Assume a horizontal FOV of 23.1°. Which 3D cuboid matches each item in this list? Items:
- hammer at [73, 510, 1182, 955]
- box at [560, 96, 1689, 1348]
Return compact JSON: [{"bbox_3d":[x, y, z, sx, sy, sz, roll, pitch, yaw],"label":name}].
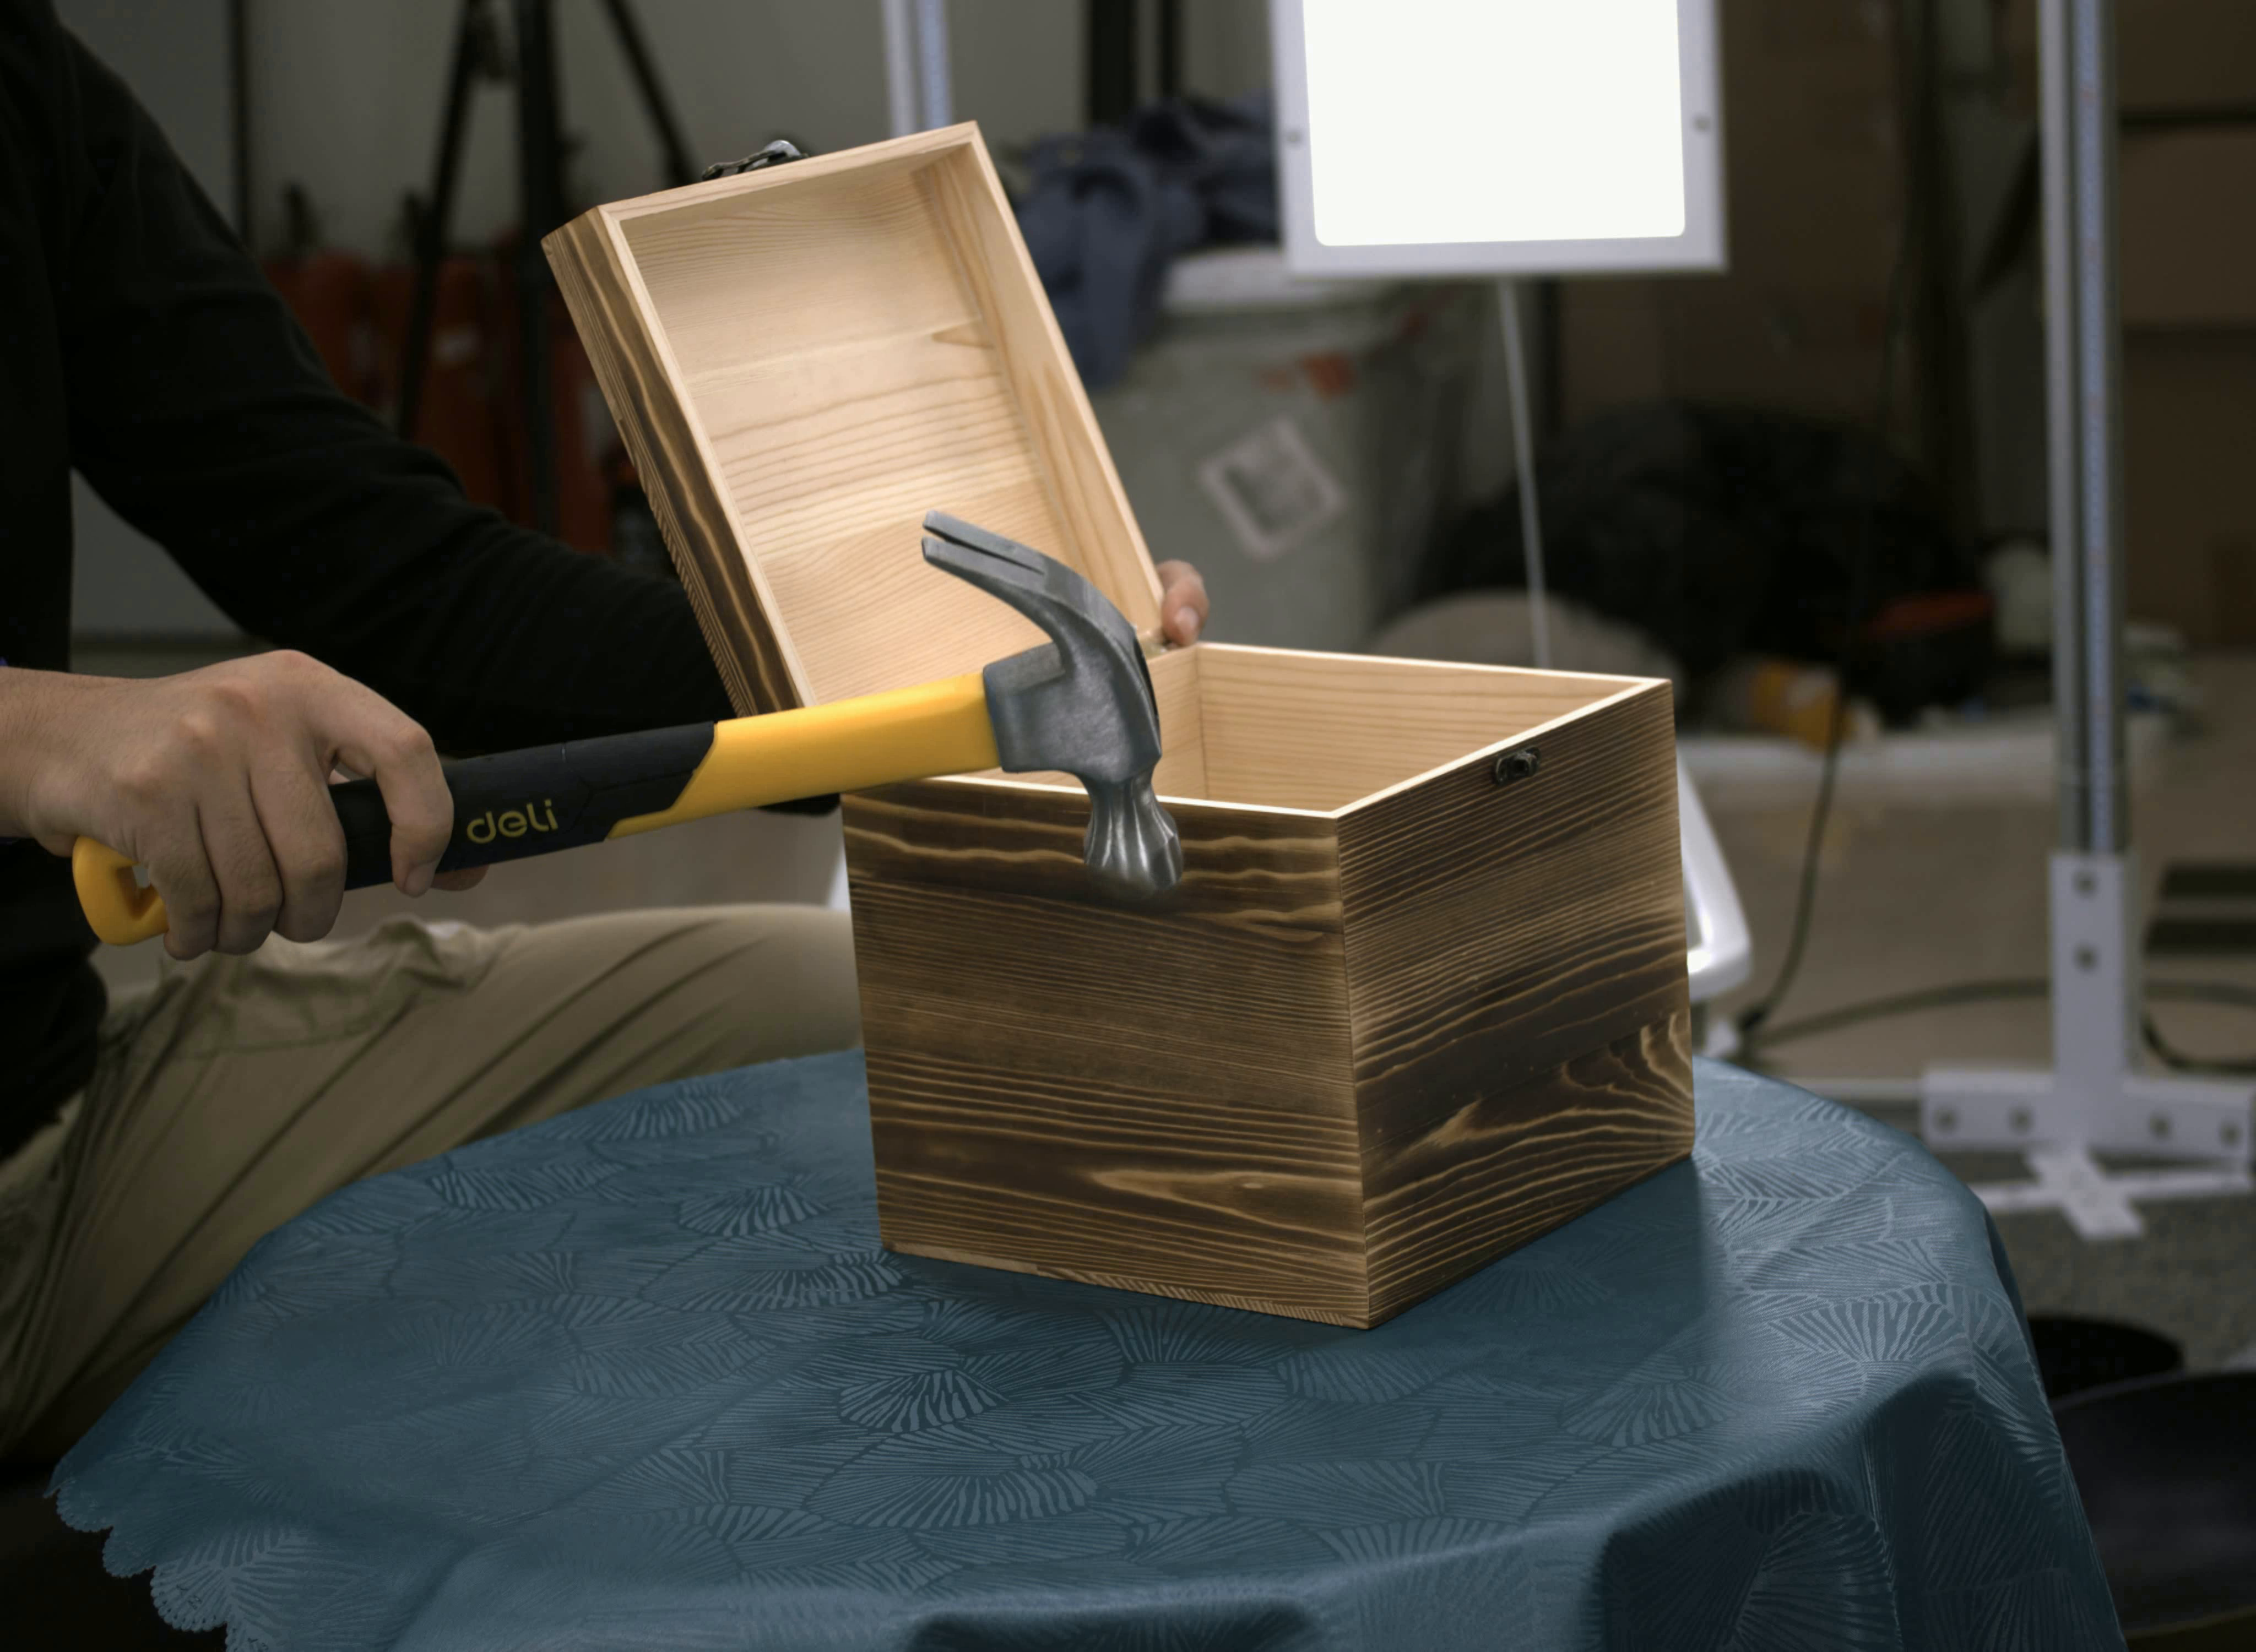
[{"bbox_3d":[-0.159,-0.011,1.701,0.339,0.131,0.032,-11,28,5],"label":"hammer"},{"bbox_3d":[0.001,-0.051,1.859,0.329,0.377,0.203,7,18,38],"label":"box"}]
